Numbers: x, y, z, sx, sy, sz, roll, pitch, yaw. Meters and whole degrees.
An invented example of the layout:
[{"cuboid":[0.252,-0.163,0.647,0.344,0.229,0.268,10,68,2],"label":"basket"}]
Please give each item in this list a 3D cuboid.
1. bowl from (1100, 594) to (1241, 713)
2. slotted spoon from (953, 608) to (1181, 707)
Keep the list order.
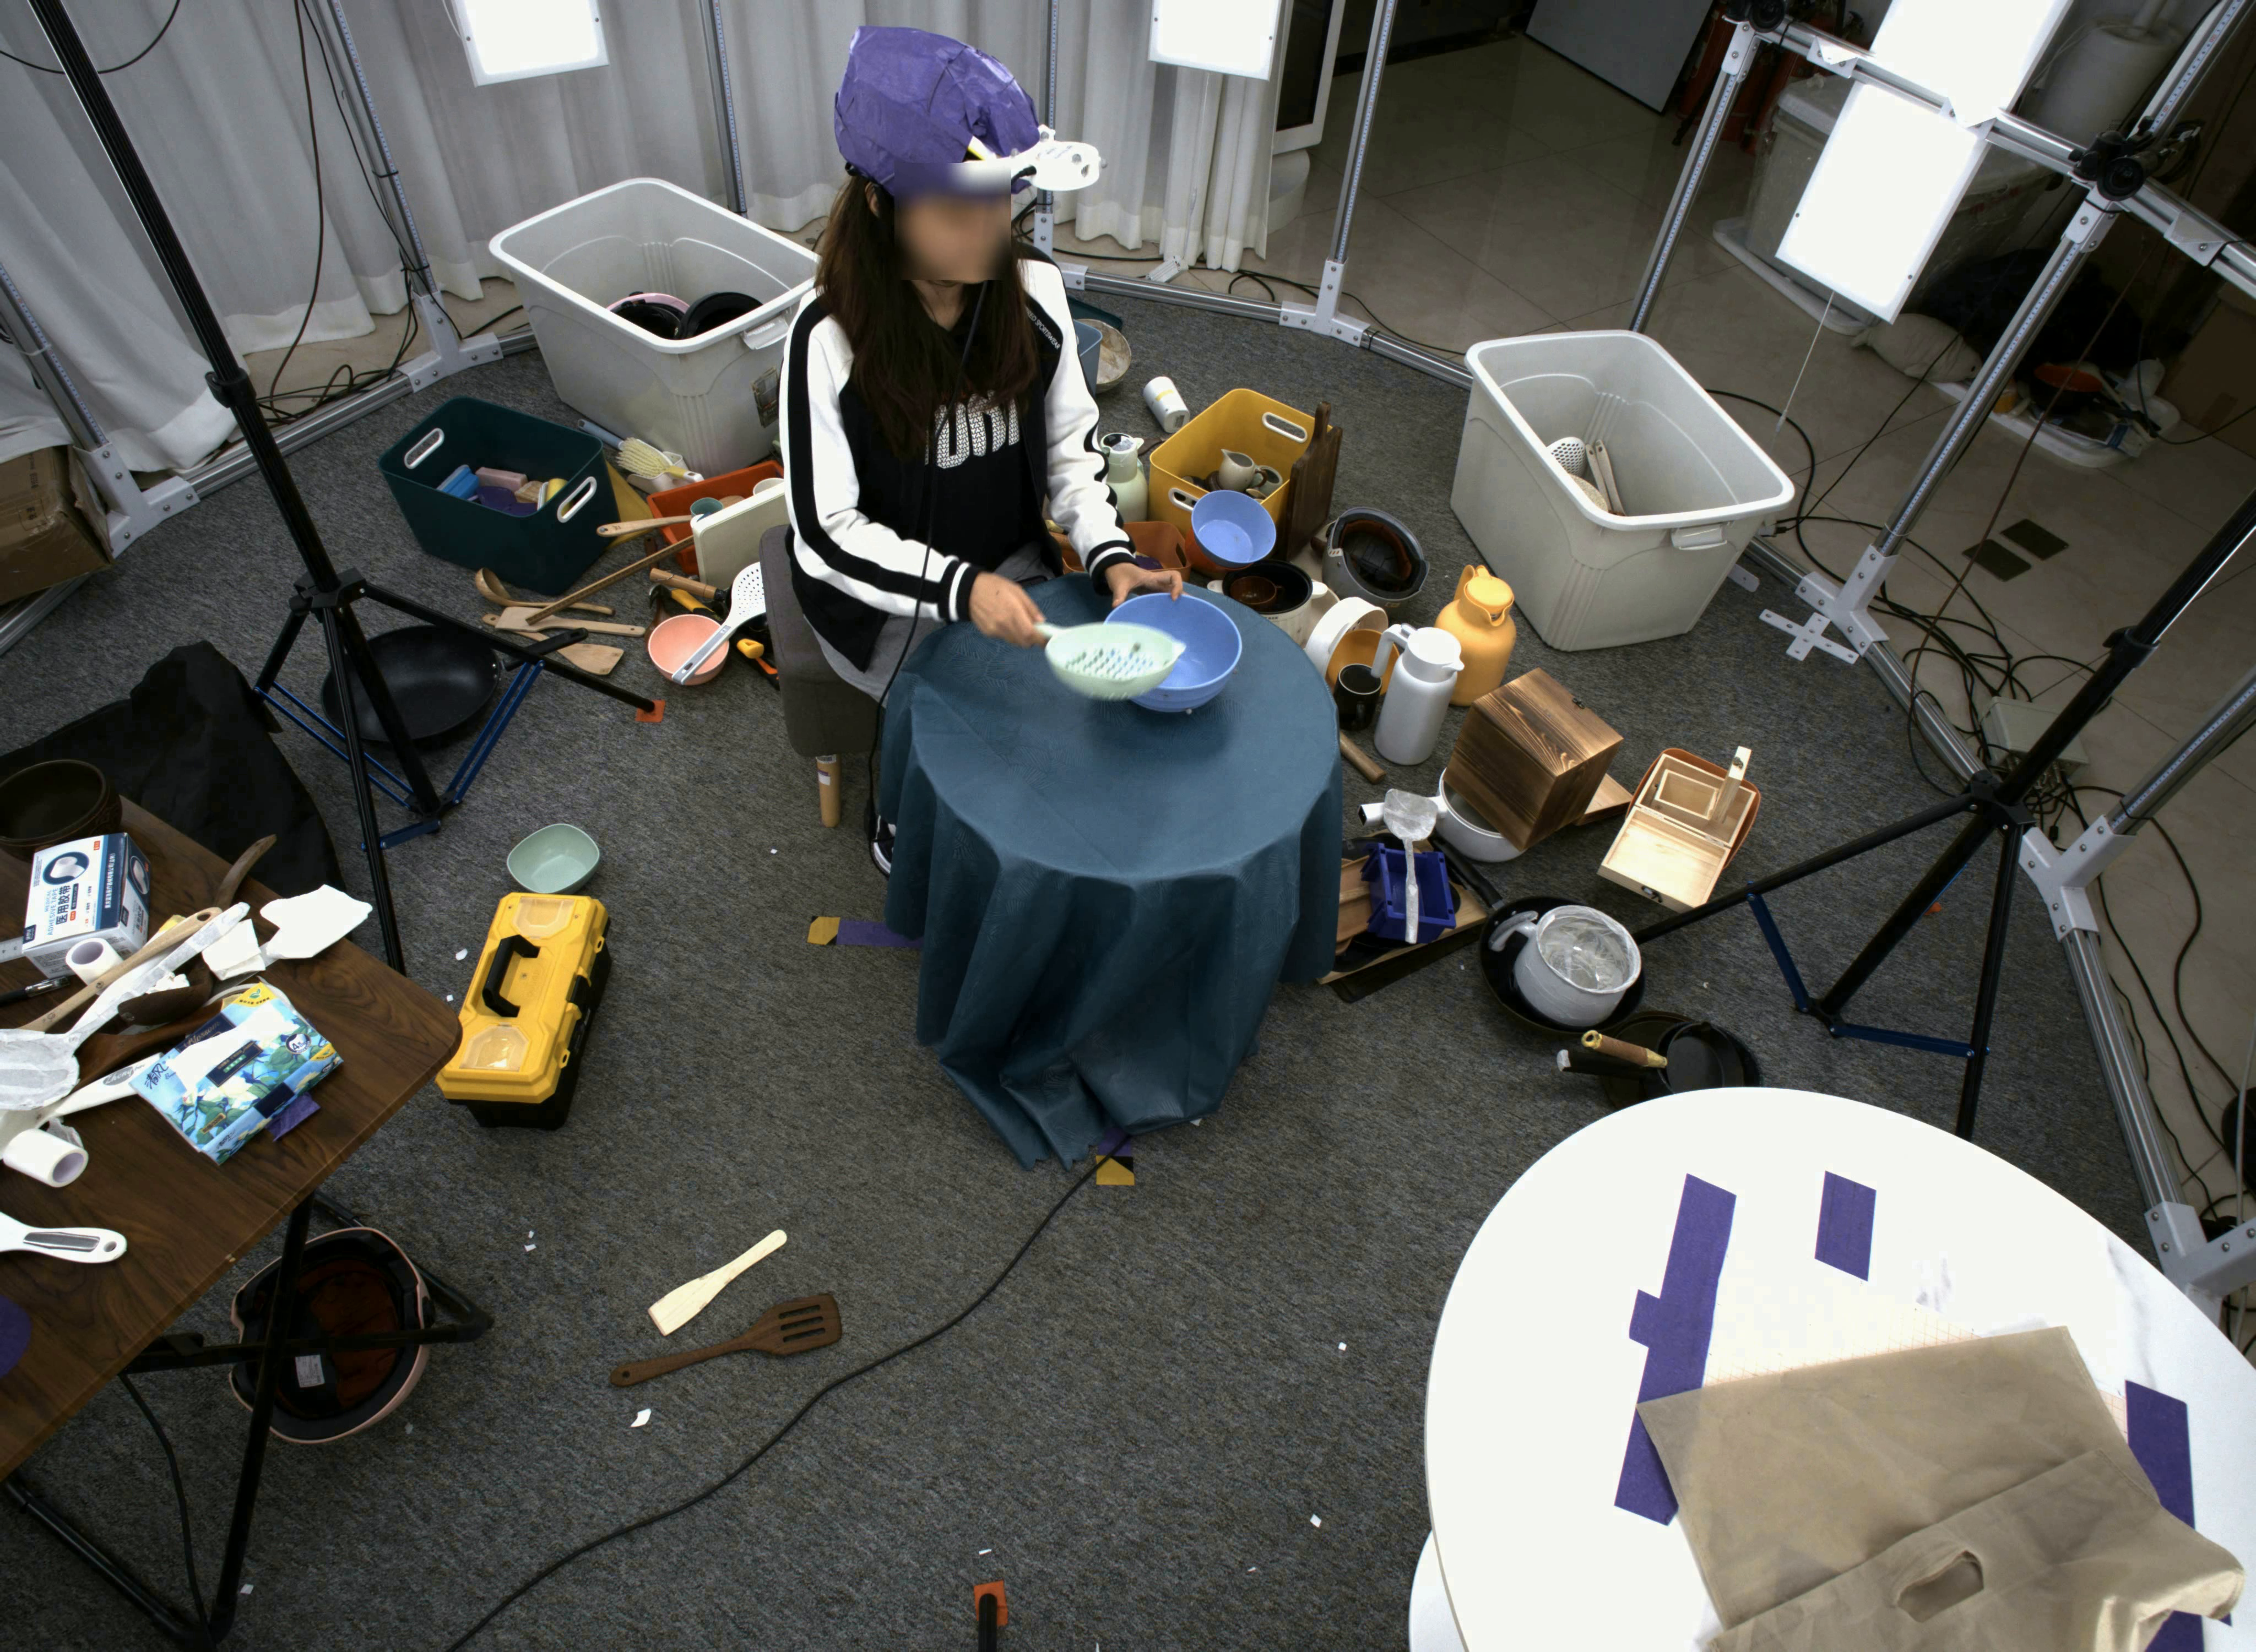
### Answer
[{"cuboid":[0.057,-0.228,1.811,0.196,0.093,0.201,1,49,-2],"label":"bowl"},{"cuboid":[-0.101,-0.240,1.698,0.364,0.074,0.170,30,40,29],"label":"slotted spoon"}]
